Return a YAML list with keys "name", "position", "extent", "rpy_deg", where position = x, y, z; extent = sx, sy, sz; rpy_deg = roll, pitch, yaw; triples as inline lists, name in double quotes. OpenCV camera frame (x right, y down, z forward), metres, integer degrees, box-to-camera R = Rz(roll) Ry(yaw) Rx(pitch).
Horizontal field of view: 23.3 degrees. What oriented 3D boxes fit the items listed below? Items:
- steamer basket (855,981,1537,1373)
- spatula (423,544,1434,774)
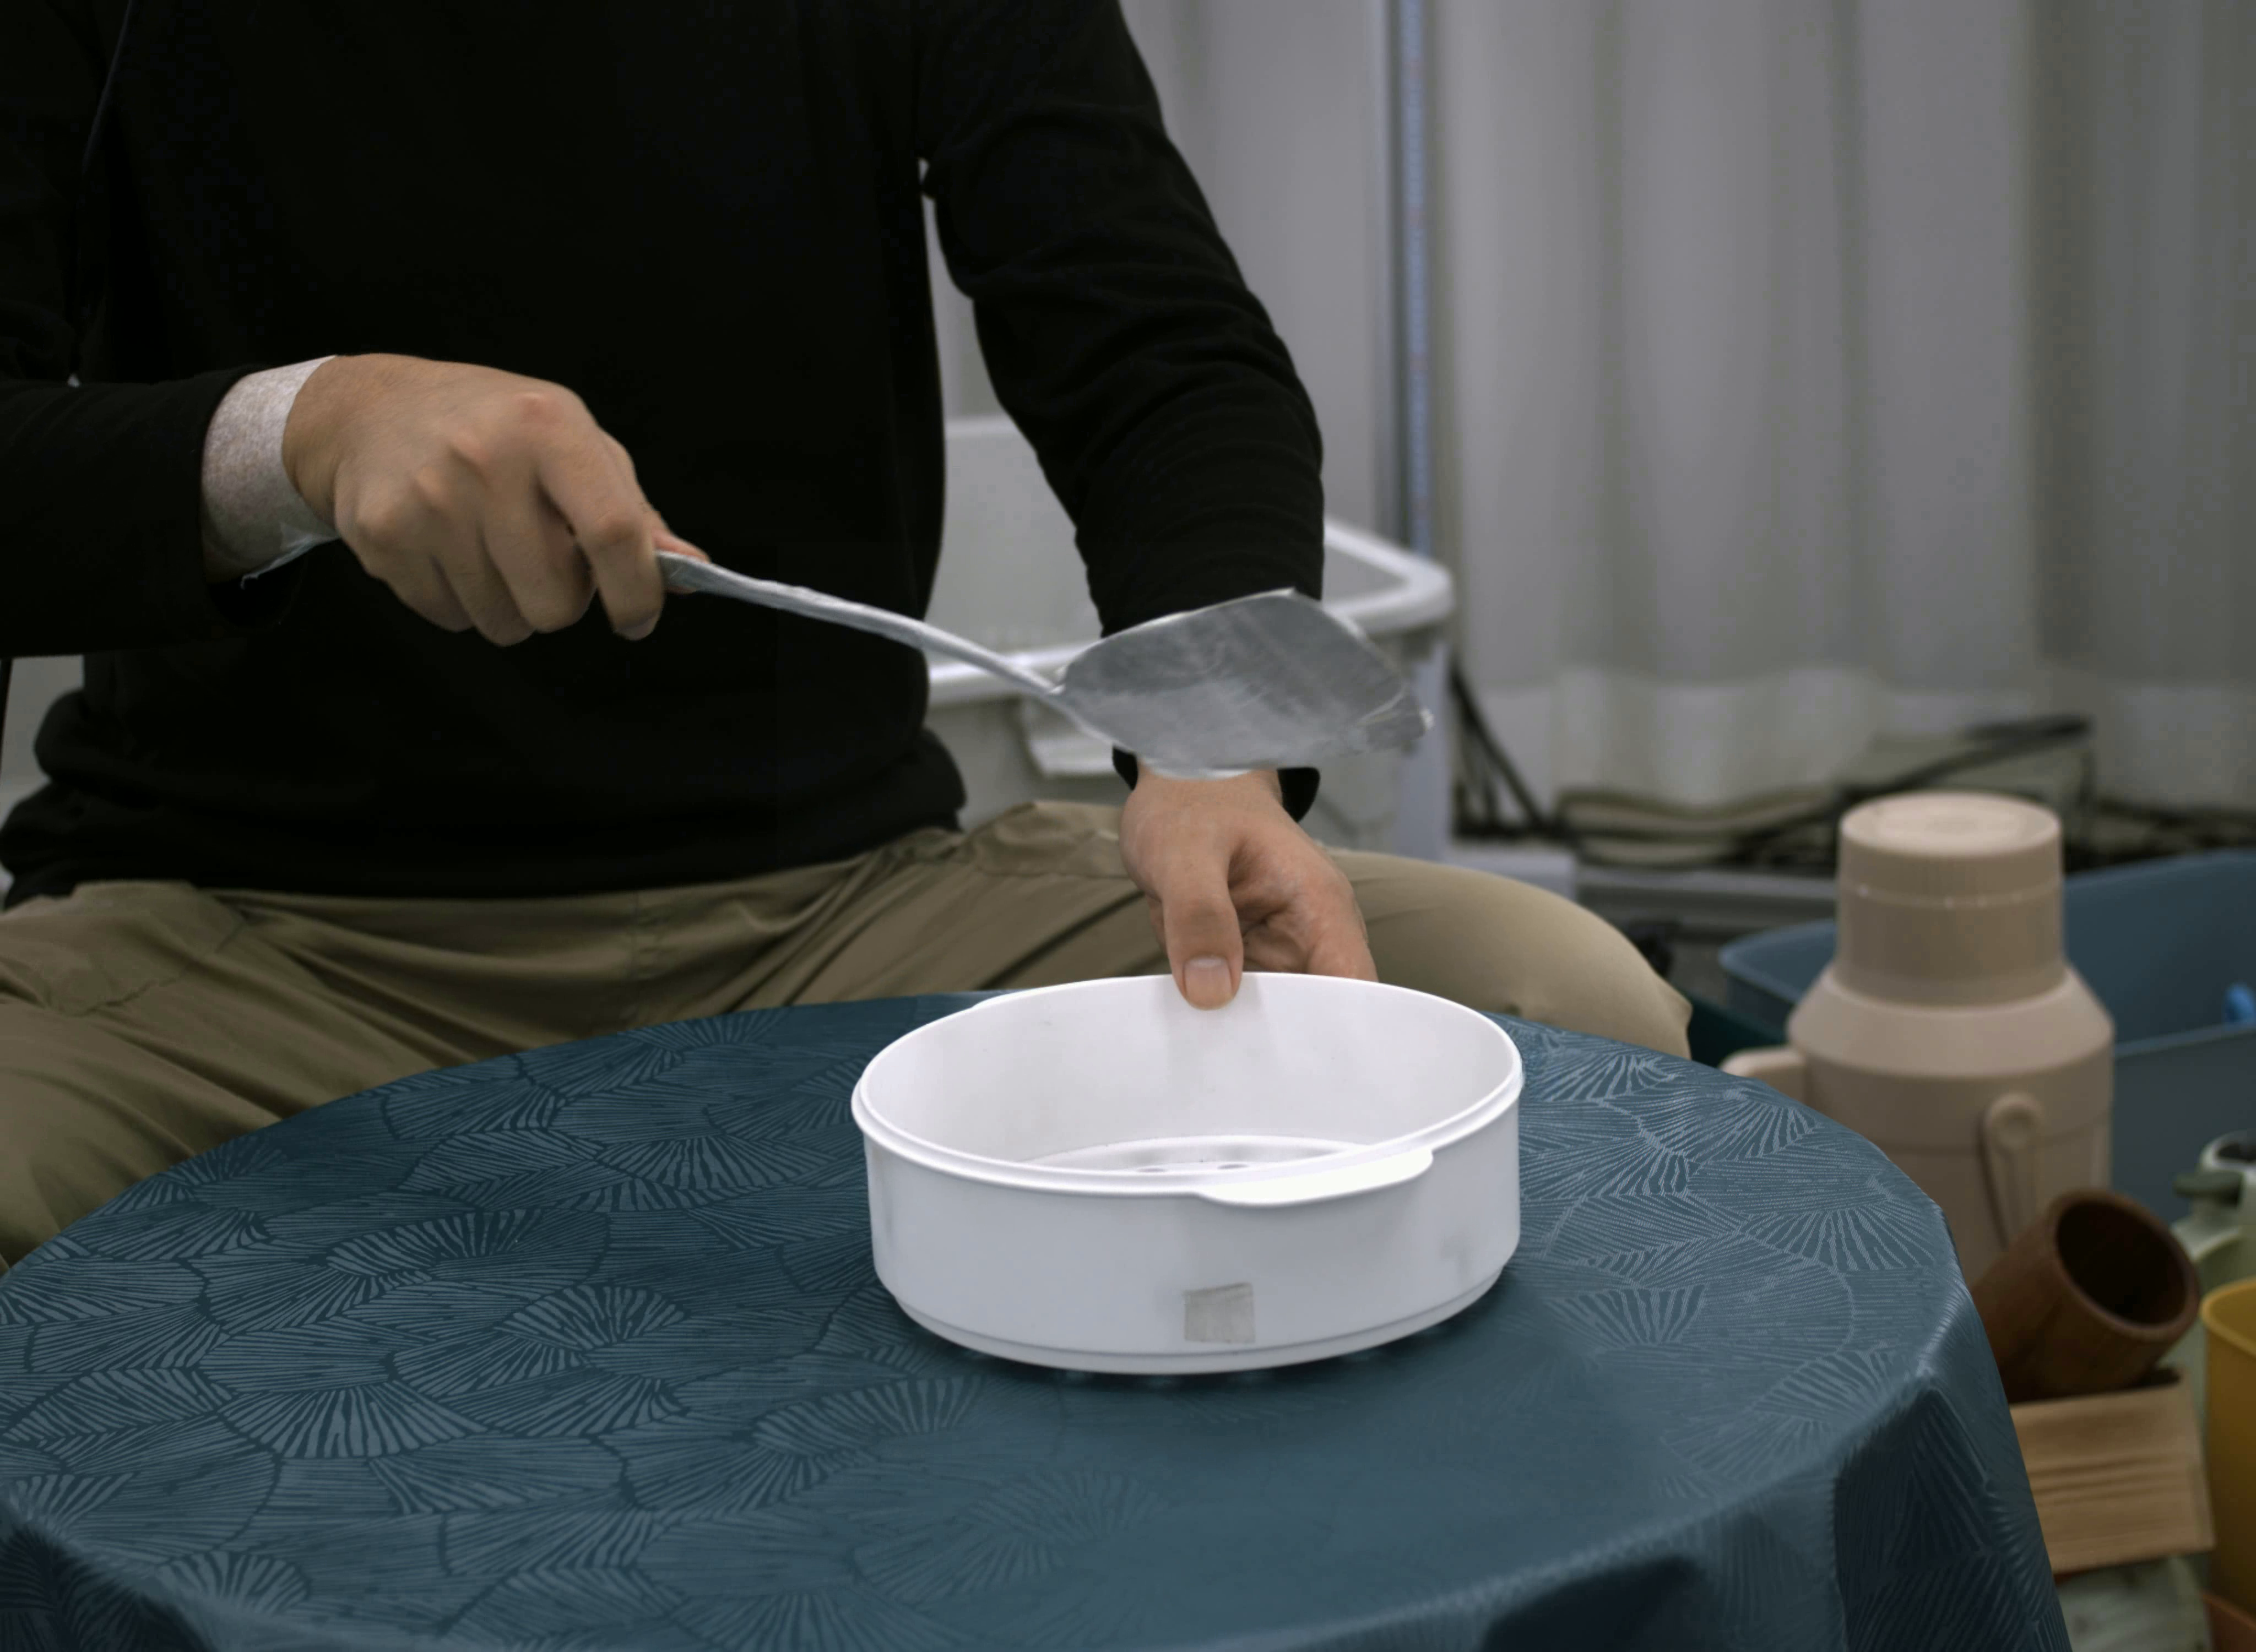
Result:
- name: "steamer basket"
  position: [0.021, 0.103, 1.618]
  extent: [0.201, 0.069, 0.232]
  rpy_deg: [-7, 14, -20]
- name: "spatula"
  position: [-0.076, -0.063, 1.654]
  extent: [0.367, 0.045, 0.097]
  rpy_deg: [14, -17, 34]
